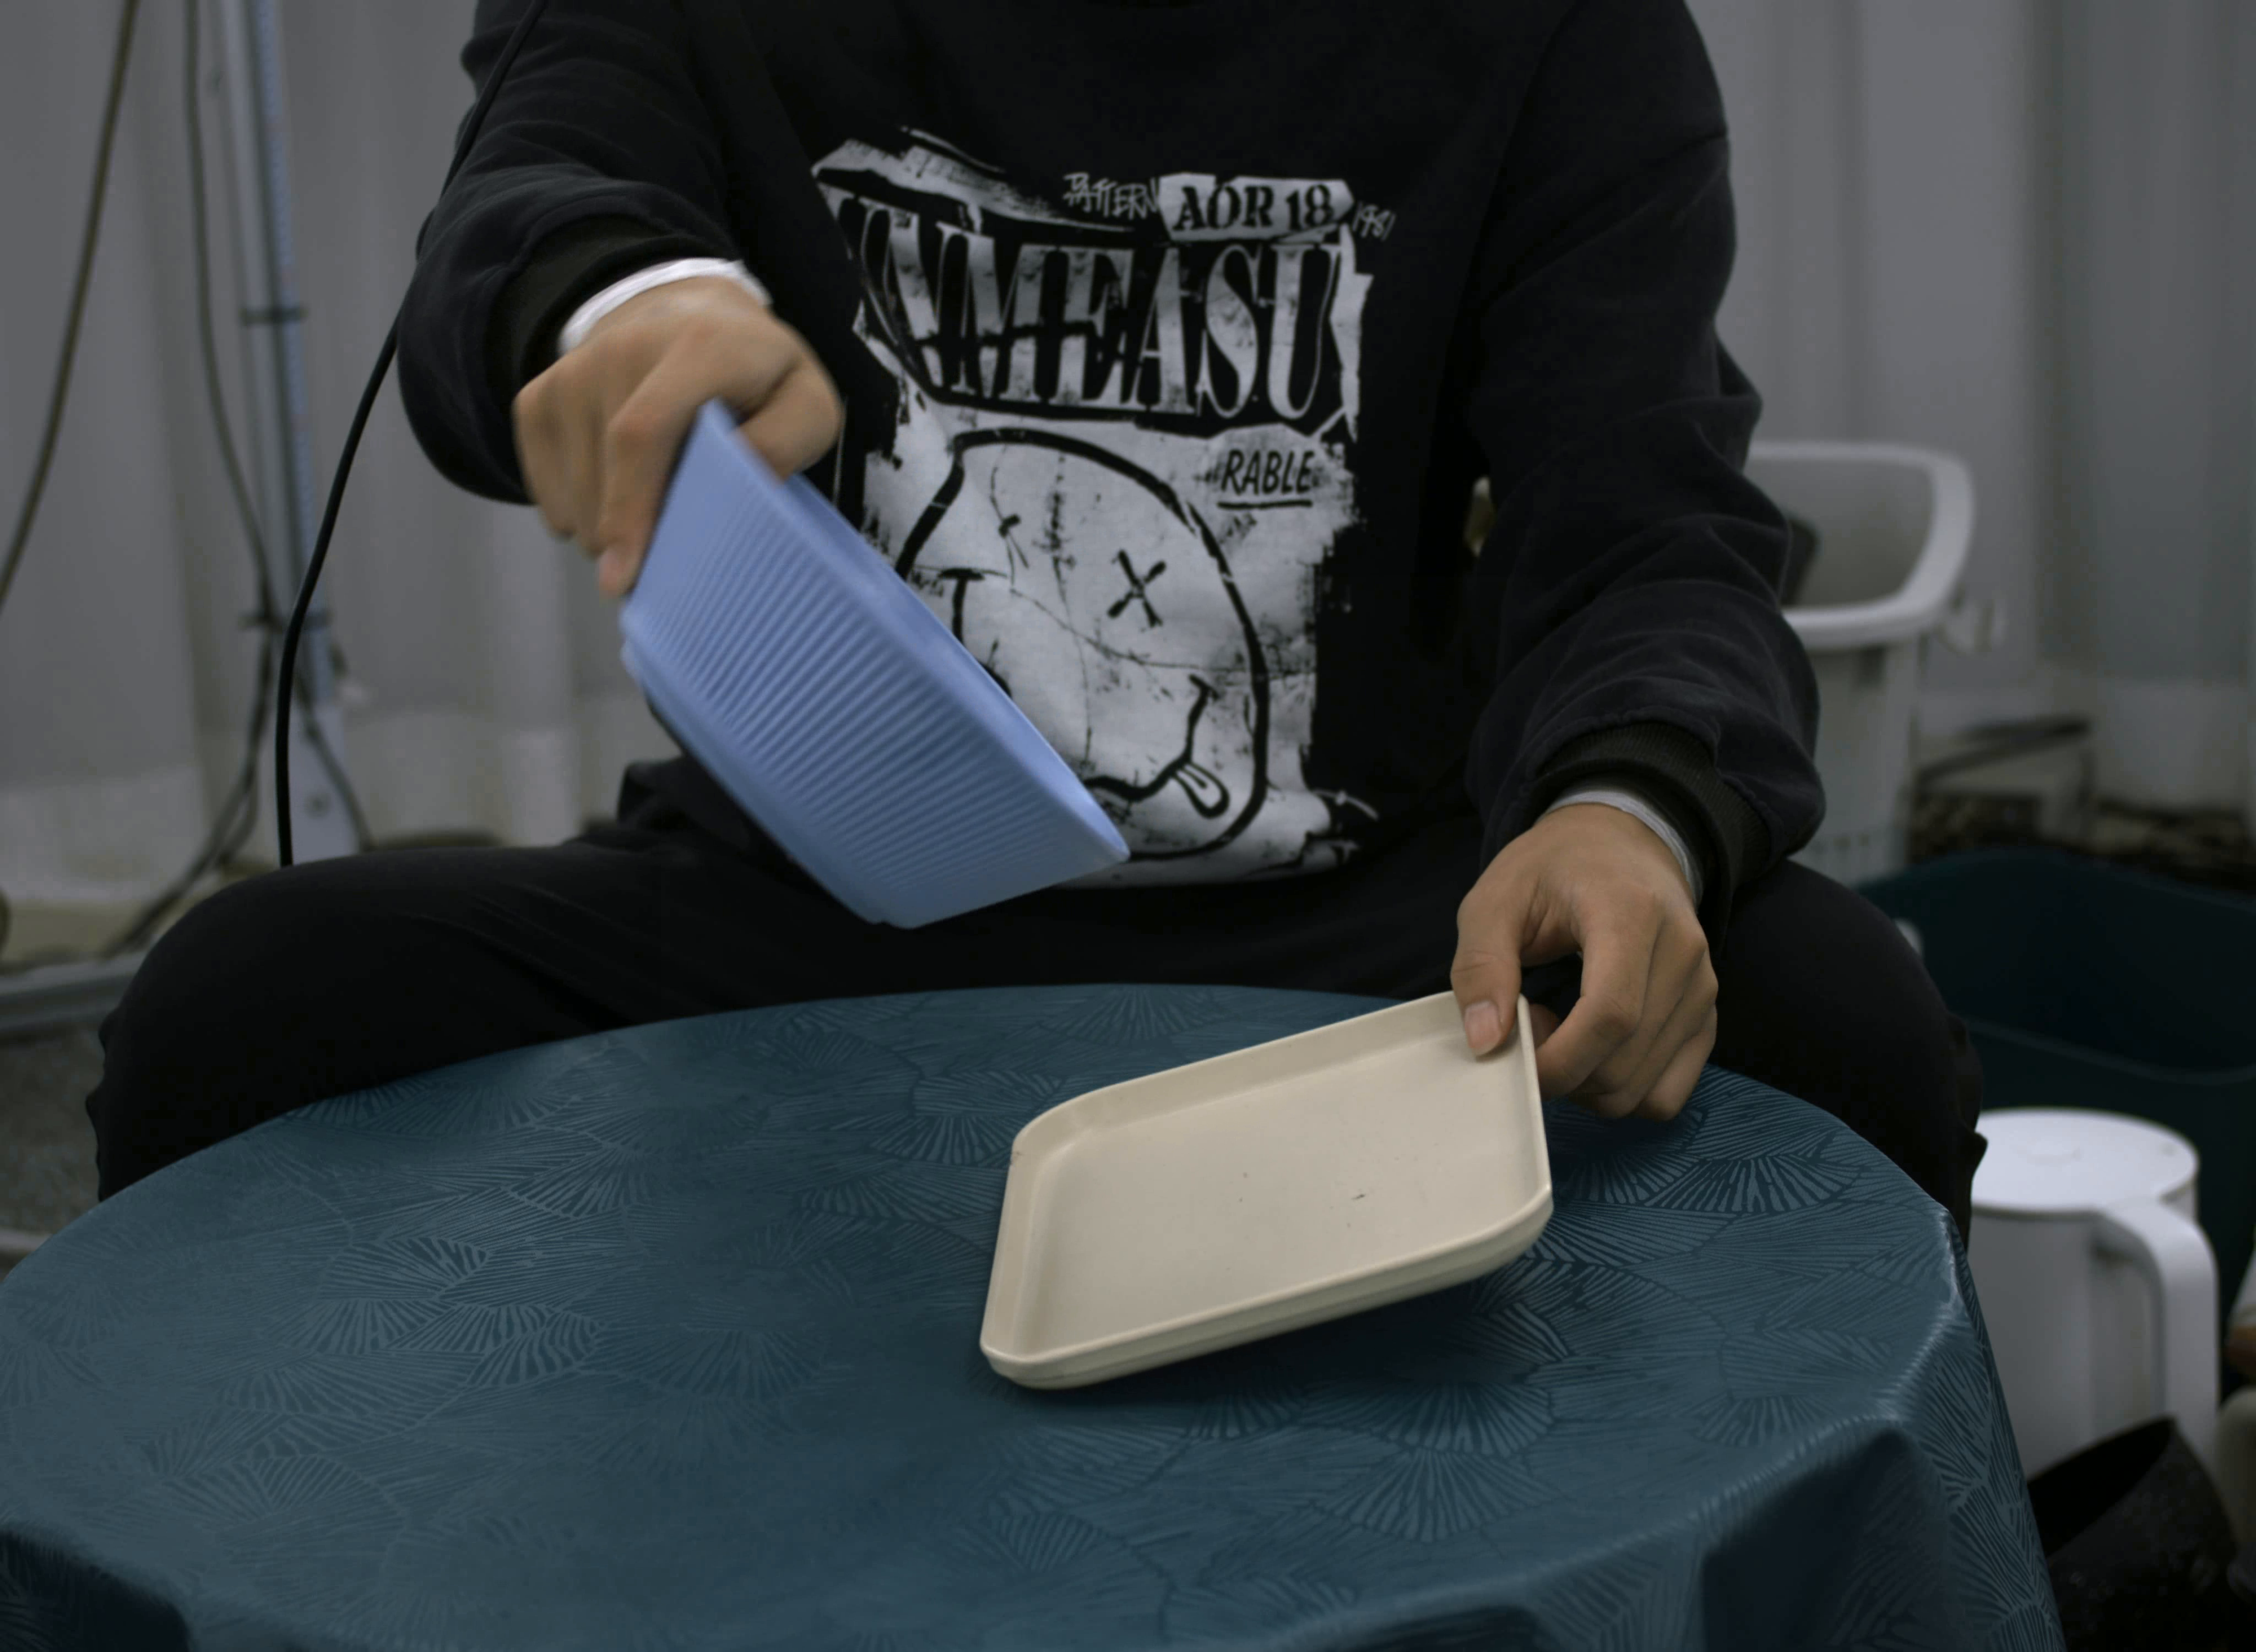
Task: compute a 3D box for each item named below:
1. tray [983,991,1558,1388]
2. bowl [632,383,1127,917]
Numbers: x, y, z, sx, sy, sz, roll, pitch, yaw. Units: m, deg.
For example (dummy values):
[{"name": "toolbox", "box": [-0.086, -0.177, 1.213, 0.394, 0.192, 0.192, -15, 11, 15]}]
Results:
[{"name": "tray", "box": [0.044, 0.108, 1.635, 0.171, 0.017, 0.241, -15, 14, 6]}, {"name": "bowl", "box": [-0.080, -0.039, 1.556, 0.070, 0.175, 0.177, -40, 18, 1]}]
